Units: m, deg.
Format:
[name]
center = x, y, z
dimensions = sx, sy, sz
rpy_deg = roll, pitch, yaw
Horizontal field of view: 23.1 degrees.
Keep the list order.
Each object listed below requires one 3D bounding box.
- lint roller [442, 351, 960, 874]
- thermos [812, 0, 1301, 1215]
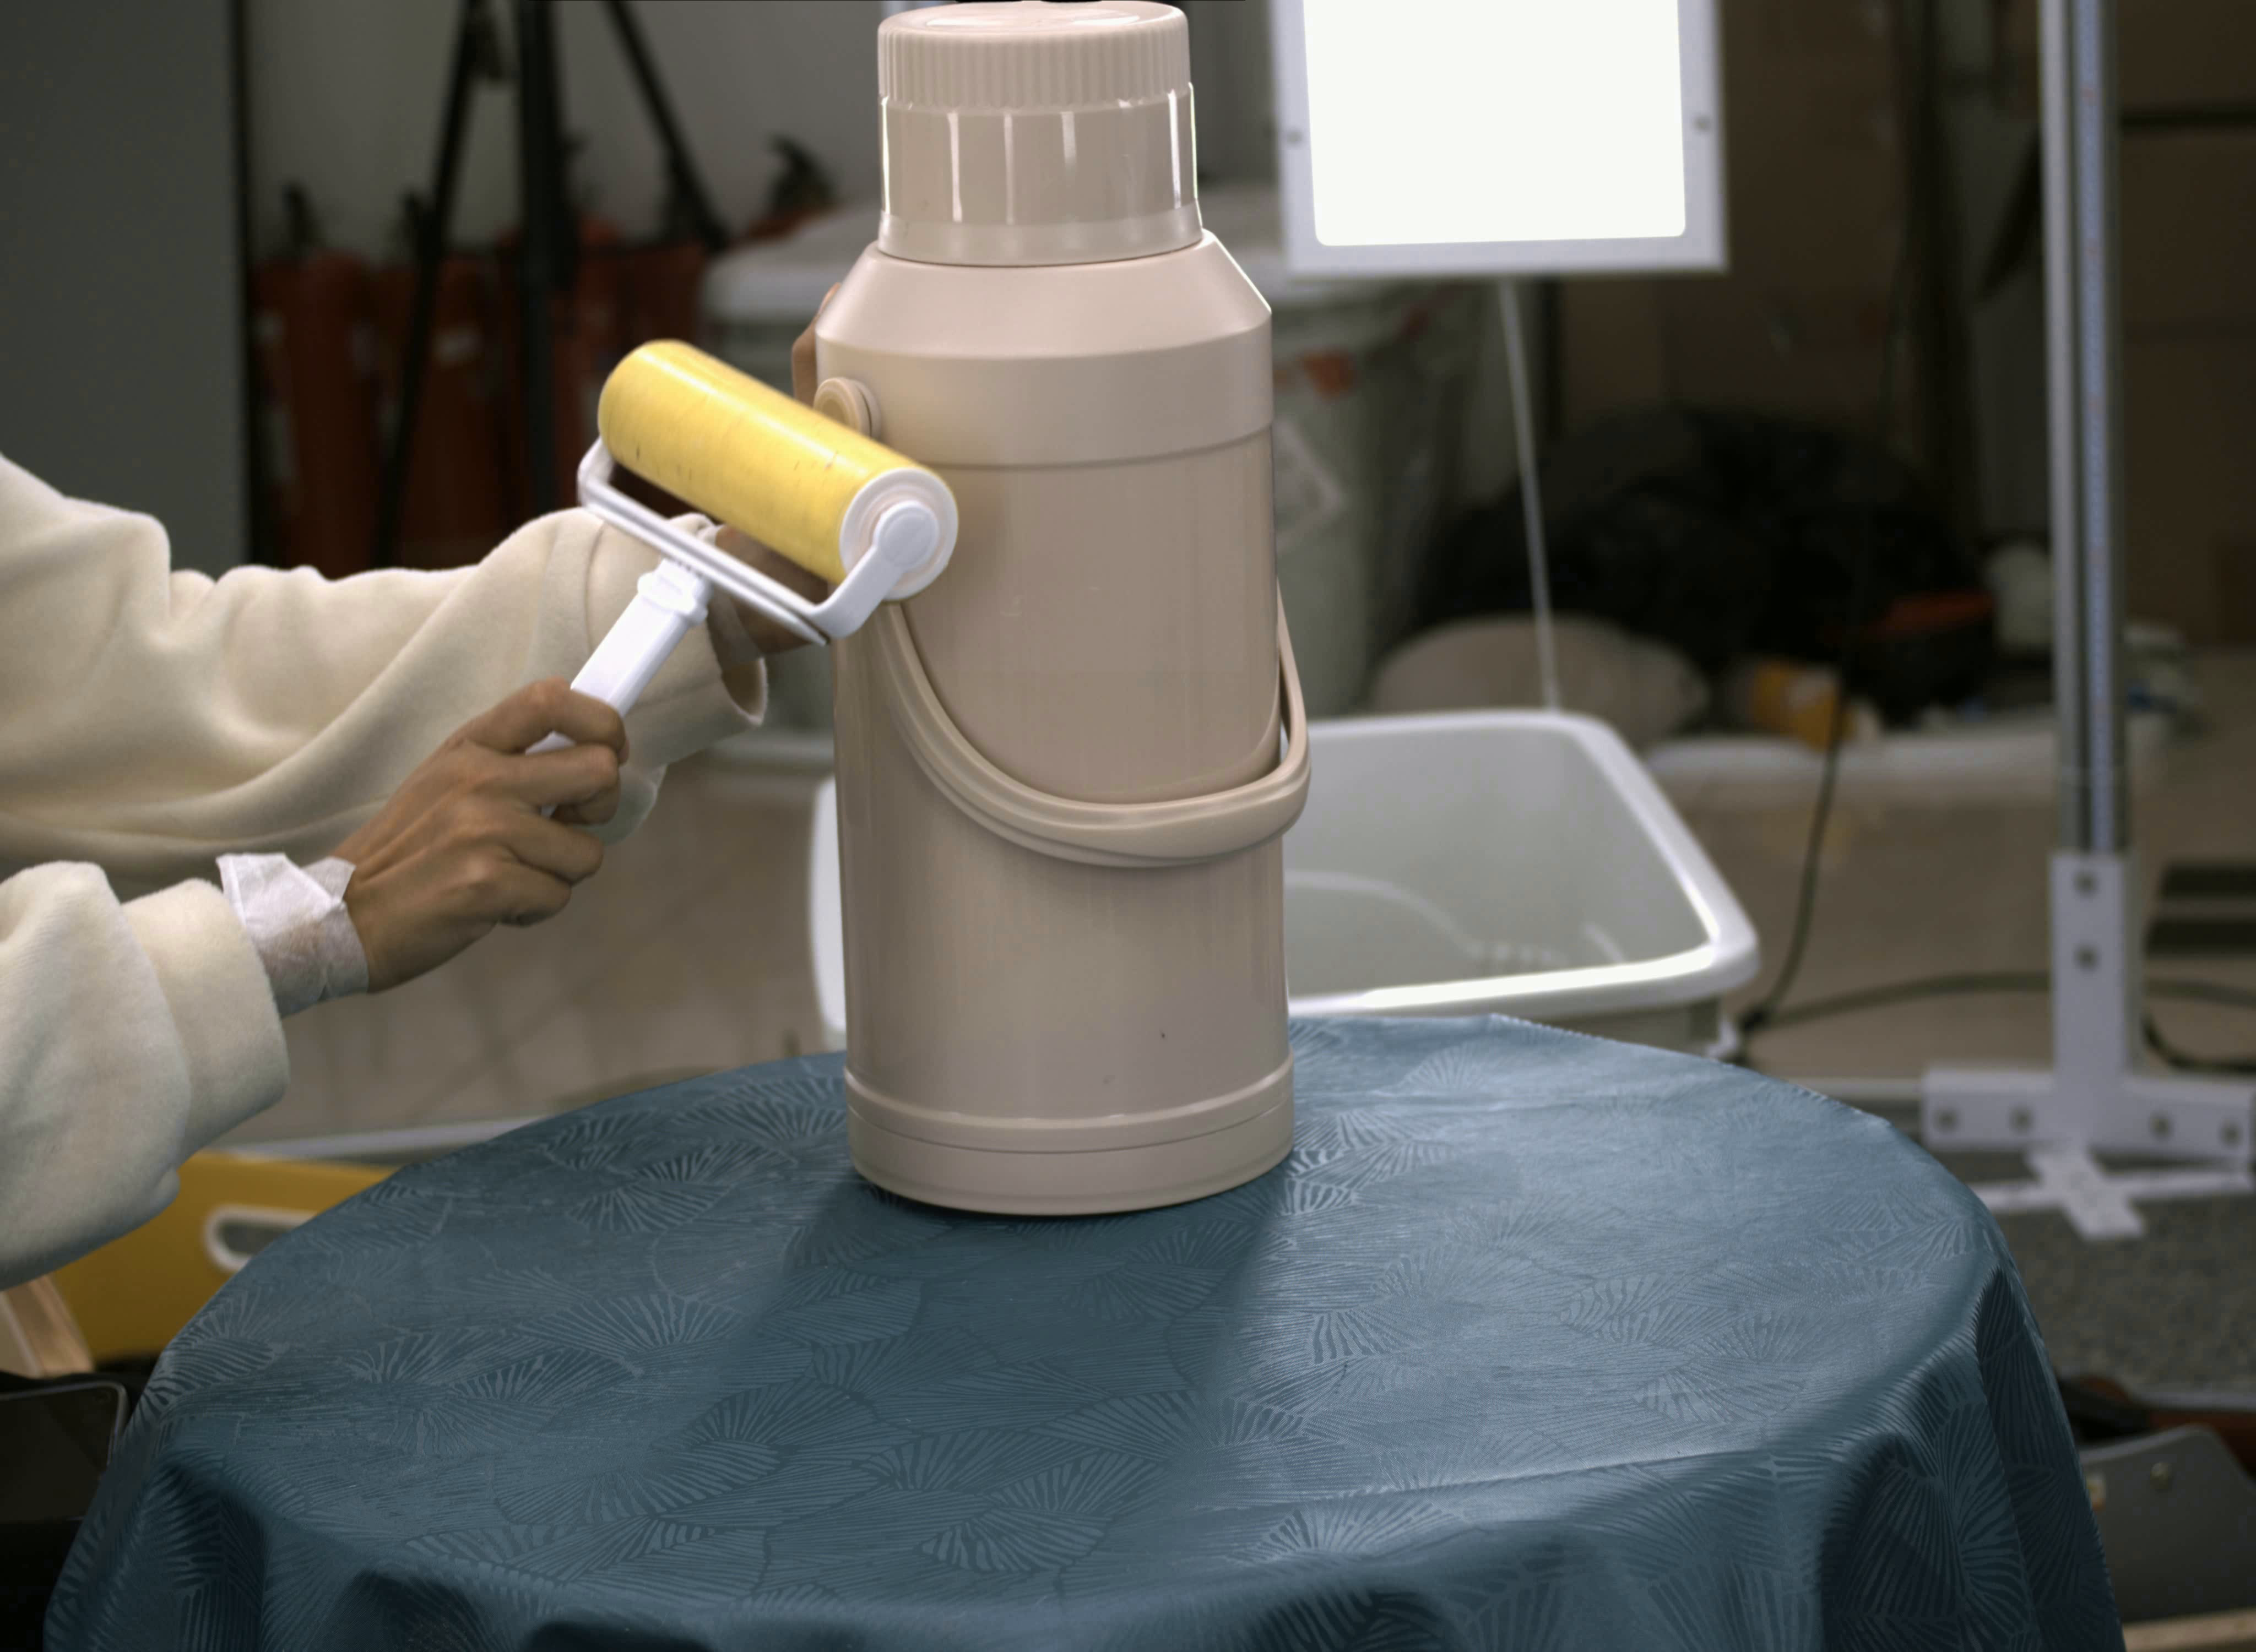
[lint roller]
center = -0.164, -0.067, 1.812
dimensions = 0.190, 0.051, 0.177
rpy_deg = -45, 35, -12
[thermos]
center = -0.033, -0.081, 1.907
dimensions = 0.171, 0.408, 0.211
rpy_deg = -13, 18, -33
